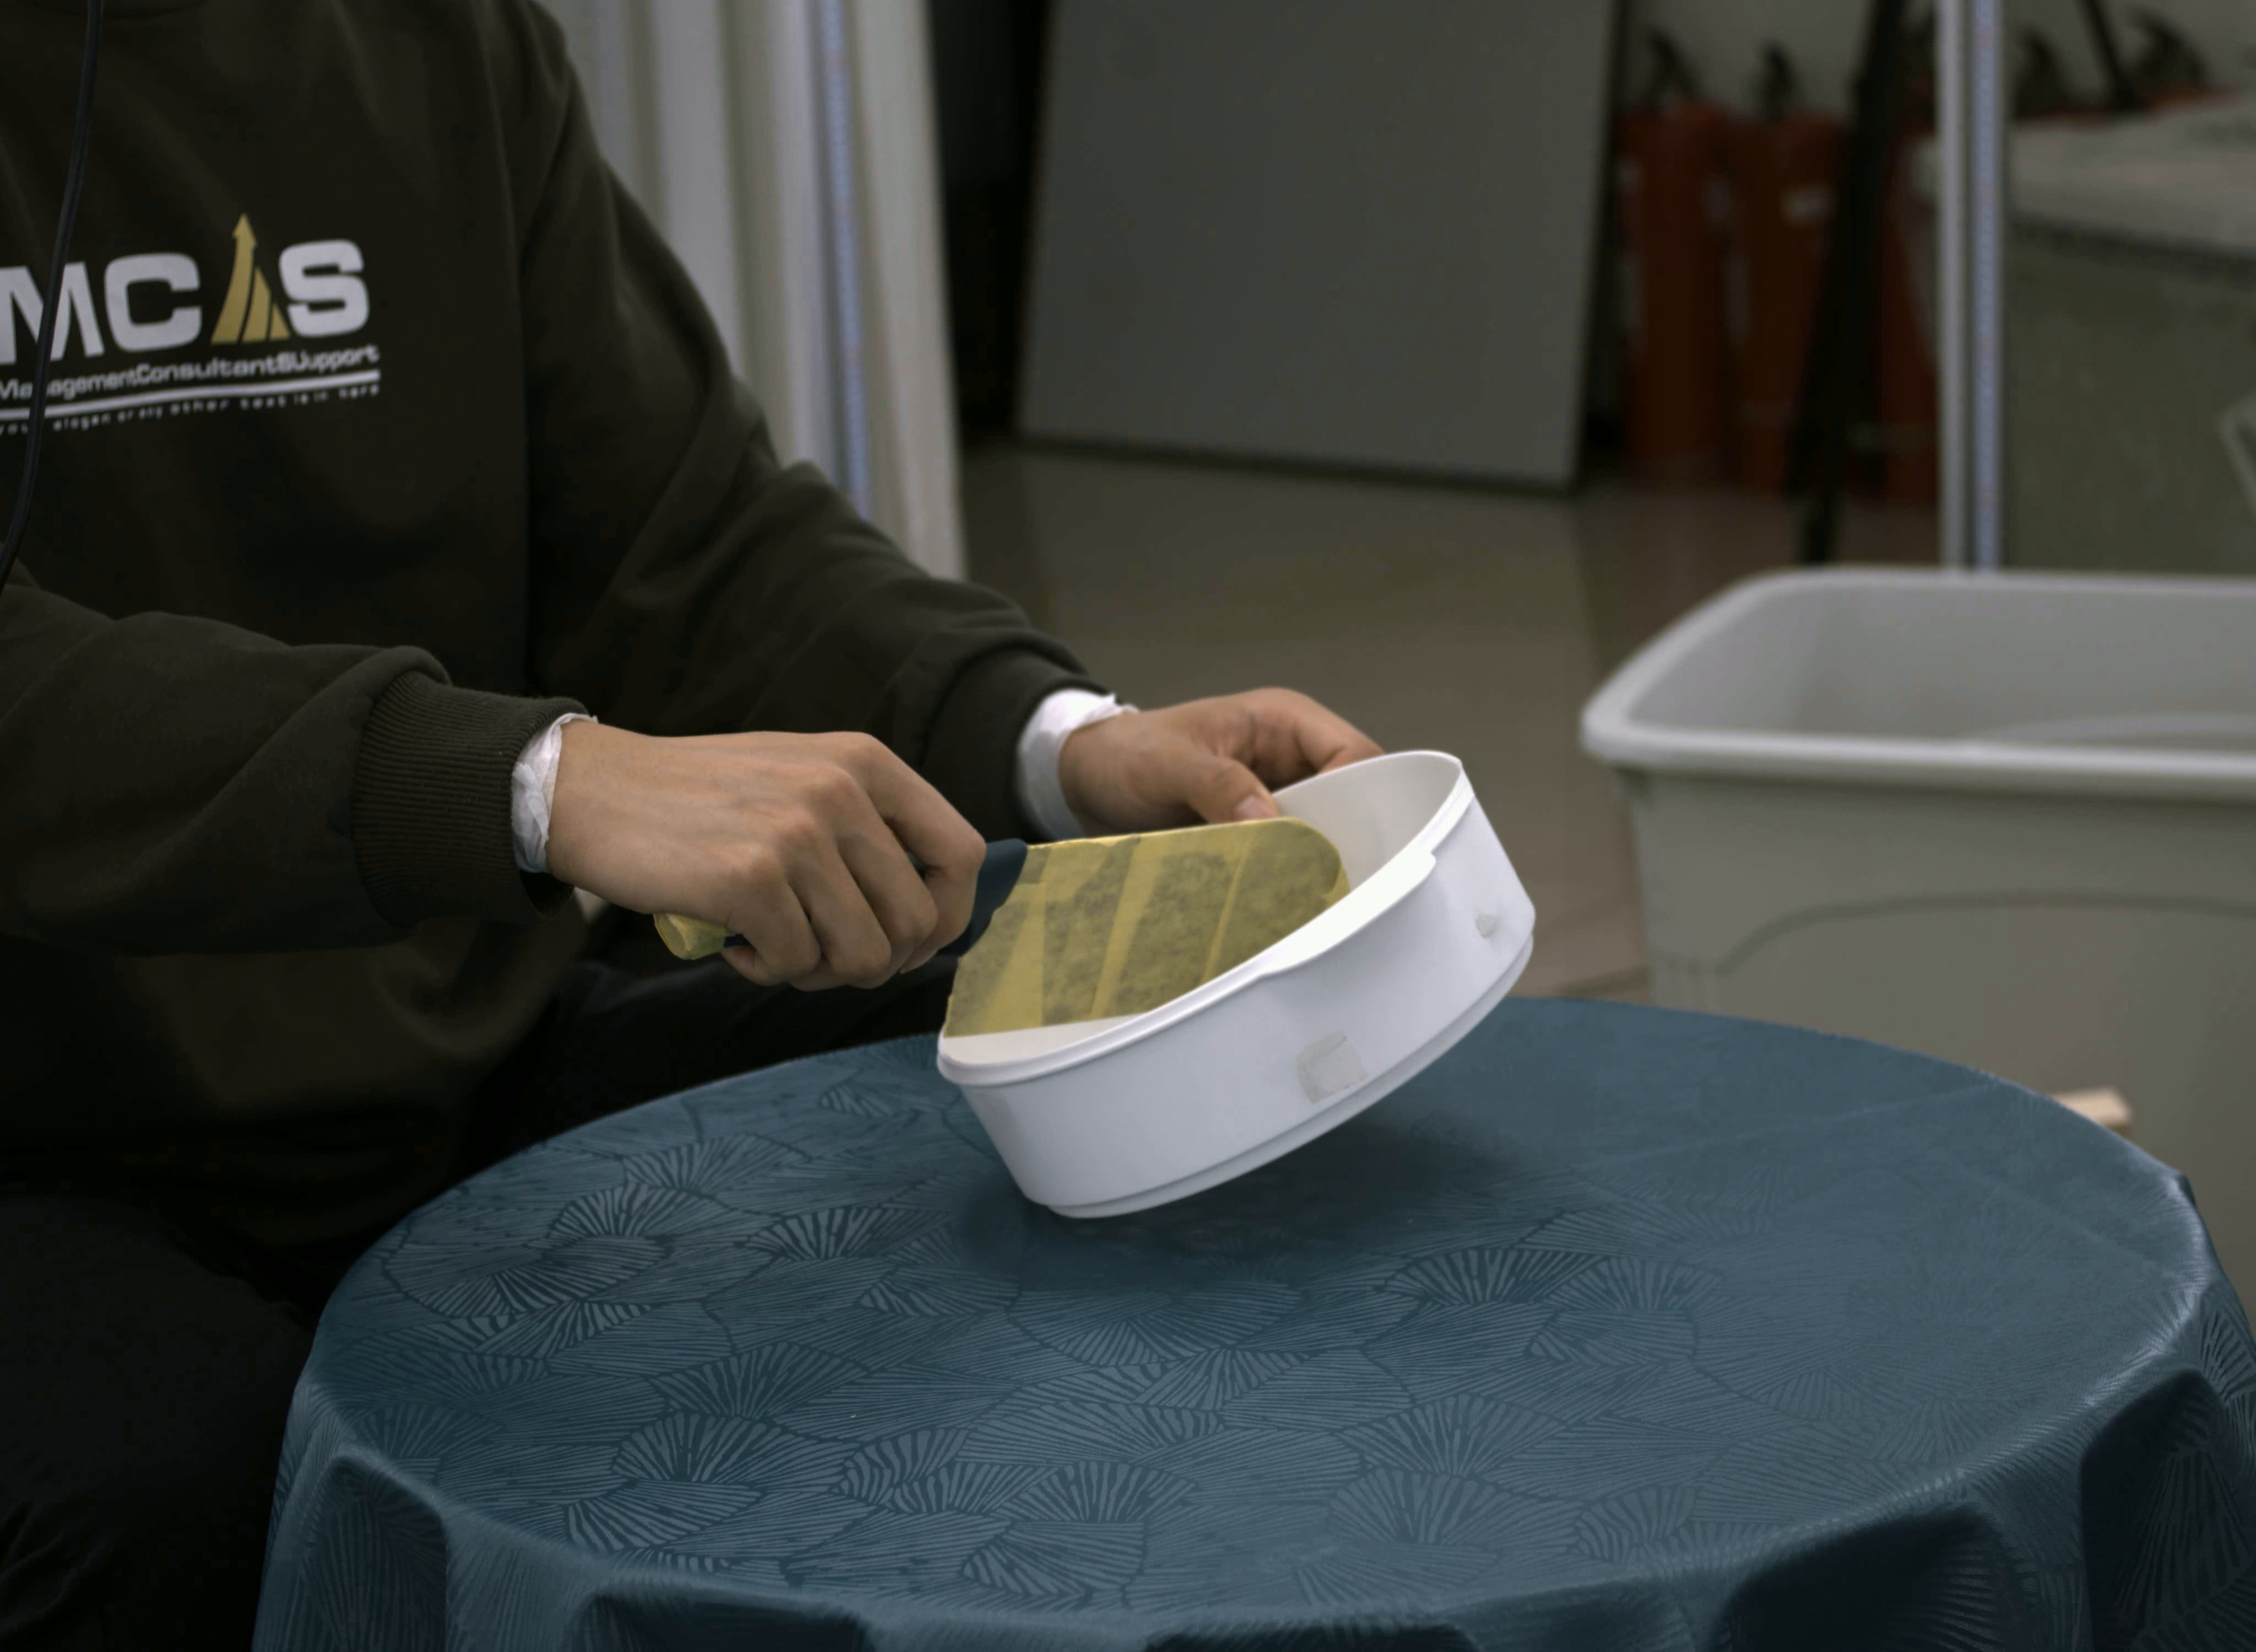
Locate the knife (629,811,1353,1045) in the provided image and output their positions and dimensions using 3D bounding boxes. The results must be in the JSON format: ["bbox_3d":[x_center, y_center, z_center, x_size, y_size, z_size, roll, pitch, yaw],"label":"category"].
[{"bbox_3d":[-0.035,0.033,1.748,0.283,0.082,0.027,0,21,-32],"label":"knife"}]

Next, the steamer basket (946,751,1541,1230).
[{"bbox_3d":[0.041,0.054,1.757,0.199,0.069,0.232,-34,10,-23],"label":"steamer basket"}]
